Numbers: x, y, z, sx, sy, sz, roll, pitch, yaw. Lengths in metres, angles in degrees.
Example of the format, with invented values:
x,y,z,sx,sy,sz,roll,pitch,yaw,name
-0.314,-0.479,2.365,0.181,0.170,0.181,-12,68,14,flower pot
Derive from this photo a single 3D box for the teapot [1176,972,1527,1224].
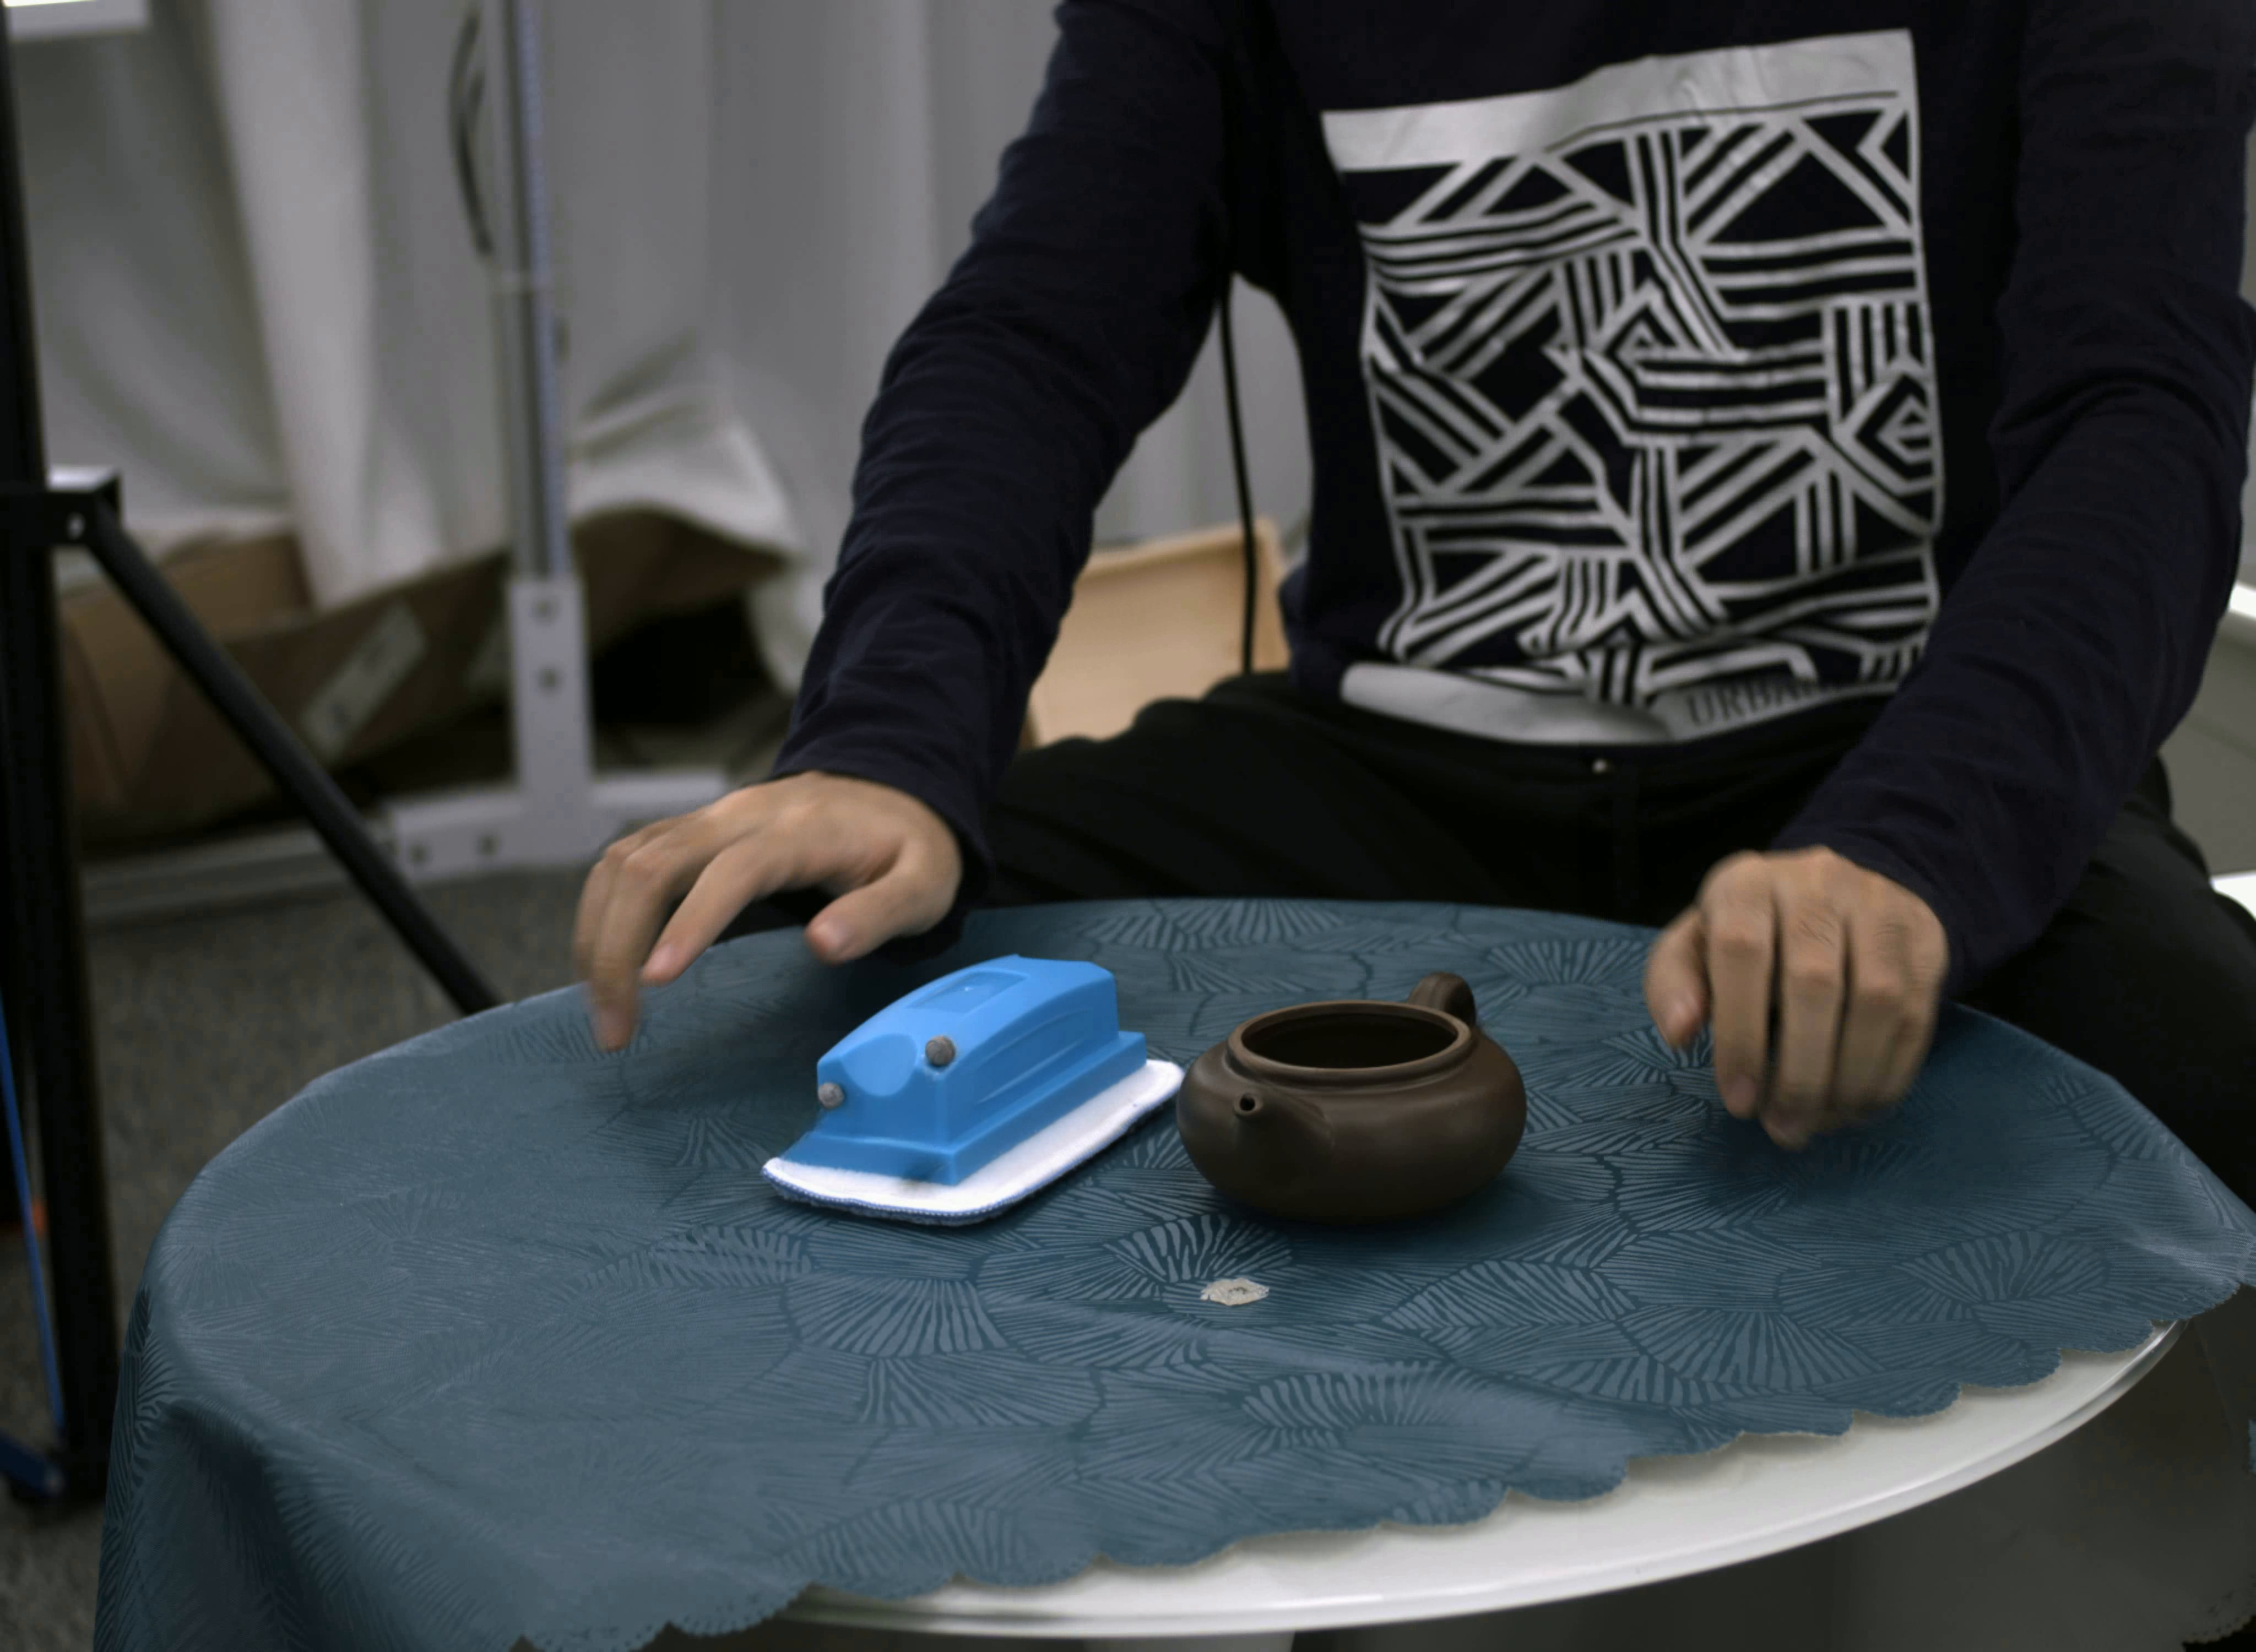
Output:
x,y,z,sx,sy,sz,roll,pitch,yaw,name
0.067,0.080,1.551,0.104,0.054,0.151,5,17,21,teapot

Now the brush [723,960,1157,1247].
x,y,z,sx,sy,sz,roll,pitch,yaw,name
-0.054,0.079,1.606,0.085,0.056,0.141,15,23,29,brush
